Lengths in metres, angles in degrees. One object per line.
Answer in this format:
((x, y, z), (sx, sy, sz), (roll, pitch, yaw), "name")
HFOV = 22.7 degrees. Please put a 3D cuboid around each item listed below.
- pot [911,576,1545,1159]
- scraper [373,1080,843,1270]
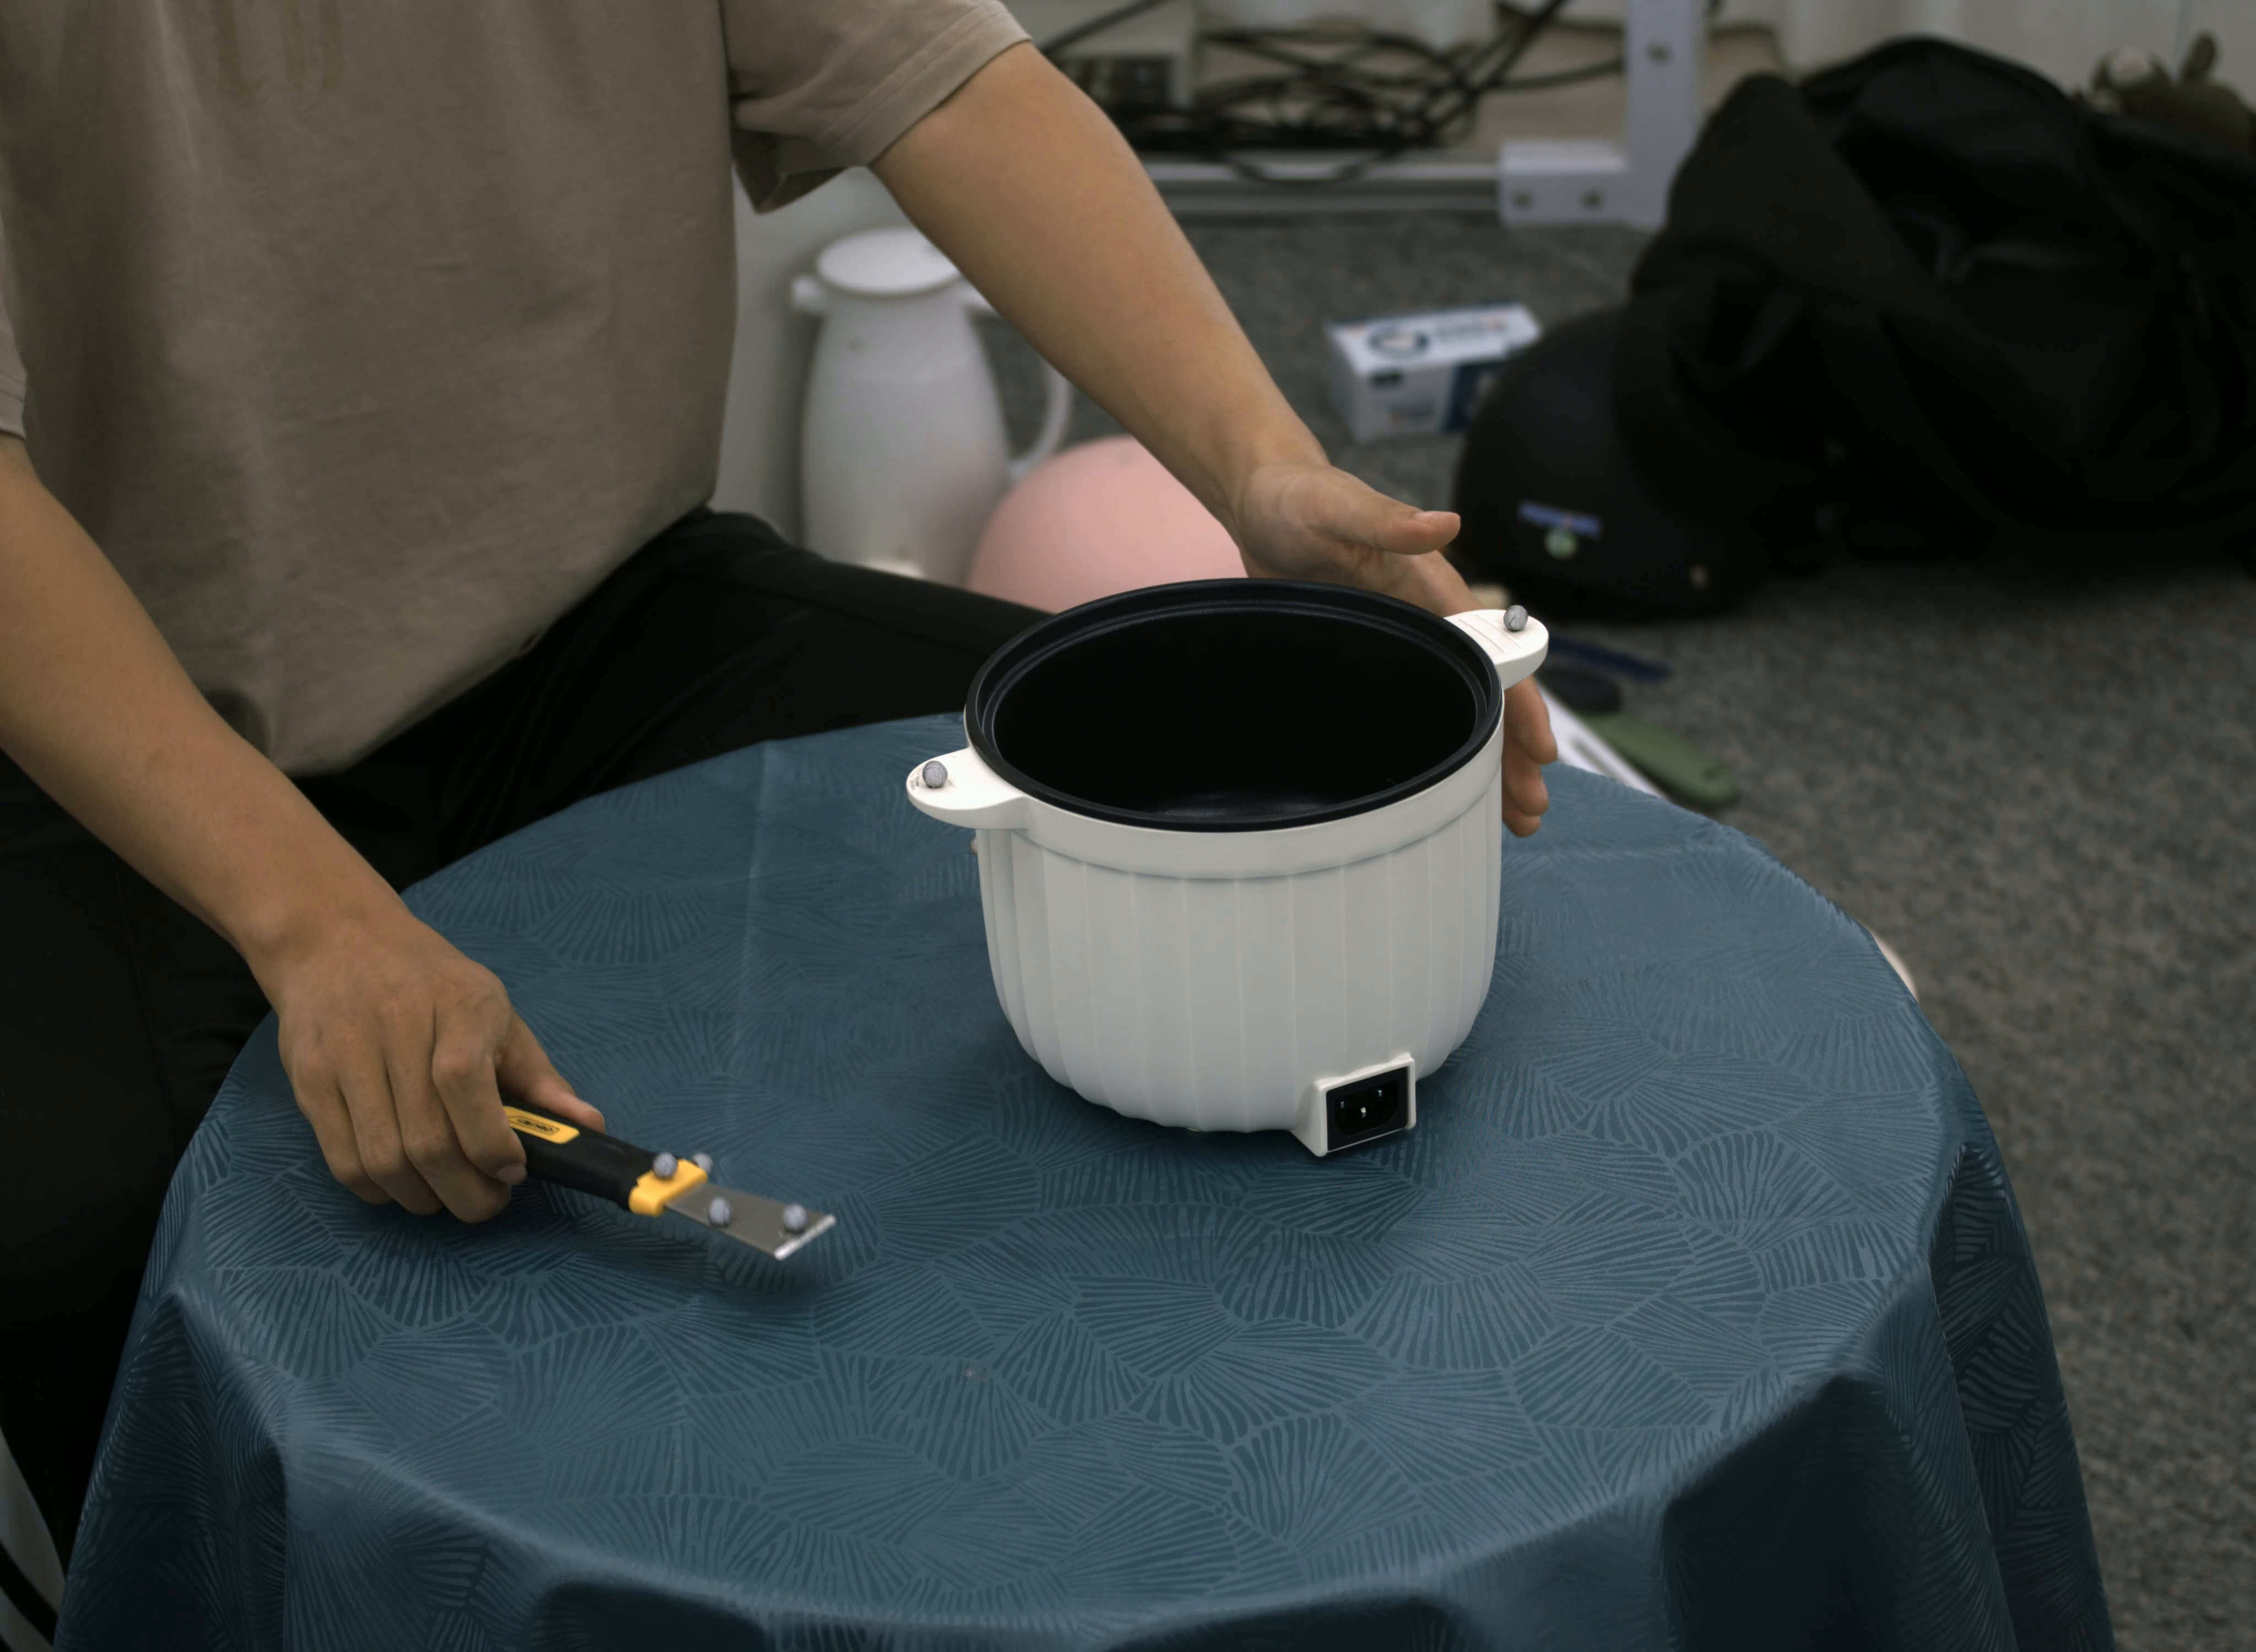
((0.034, 0.013, 1.920), (0.242, 0.141, 0.192), (-15, 33, -25), "pot")
((-0.174, 0.114, 1.837), (0.170, 0.015, 0.039), (16, 28, 24), "scraper")
